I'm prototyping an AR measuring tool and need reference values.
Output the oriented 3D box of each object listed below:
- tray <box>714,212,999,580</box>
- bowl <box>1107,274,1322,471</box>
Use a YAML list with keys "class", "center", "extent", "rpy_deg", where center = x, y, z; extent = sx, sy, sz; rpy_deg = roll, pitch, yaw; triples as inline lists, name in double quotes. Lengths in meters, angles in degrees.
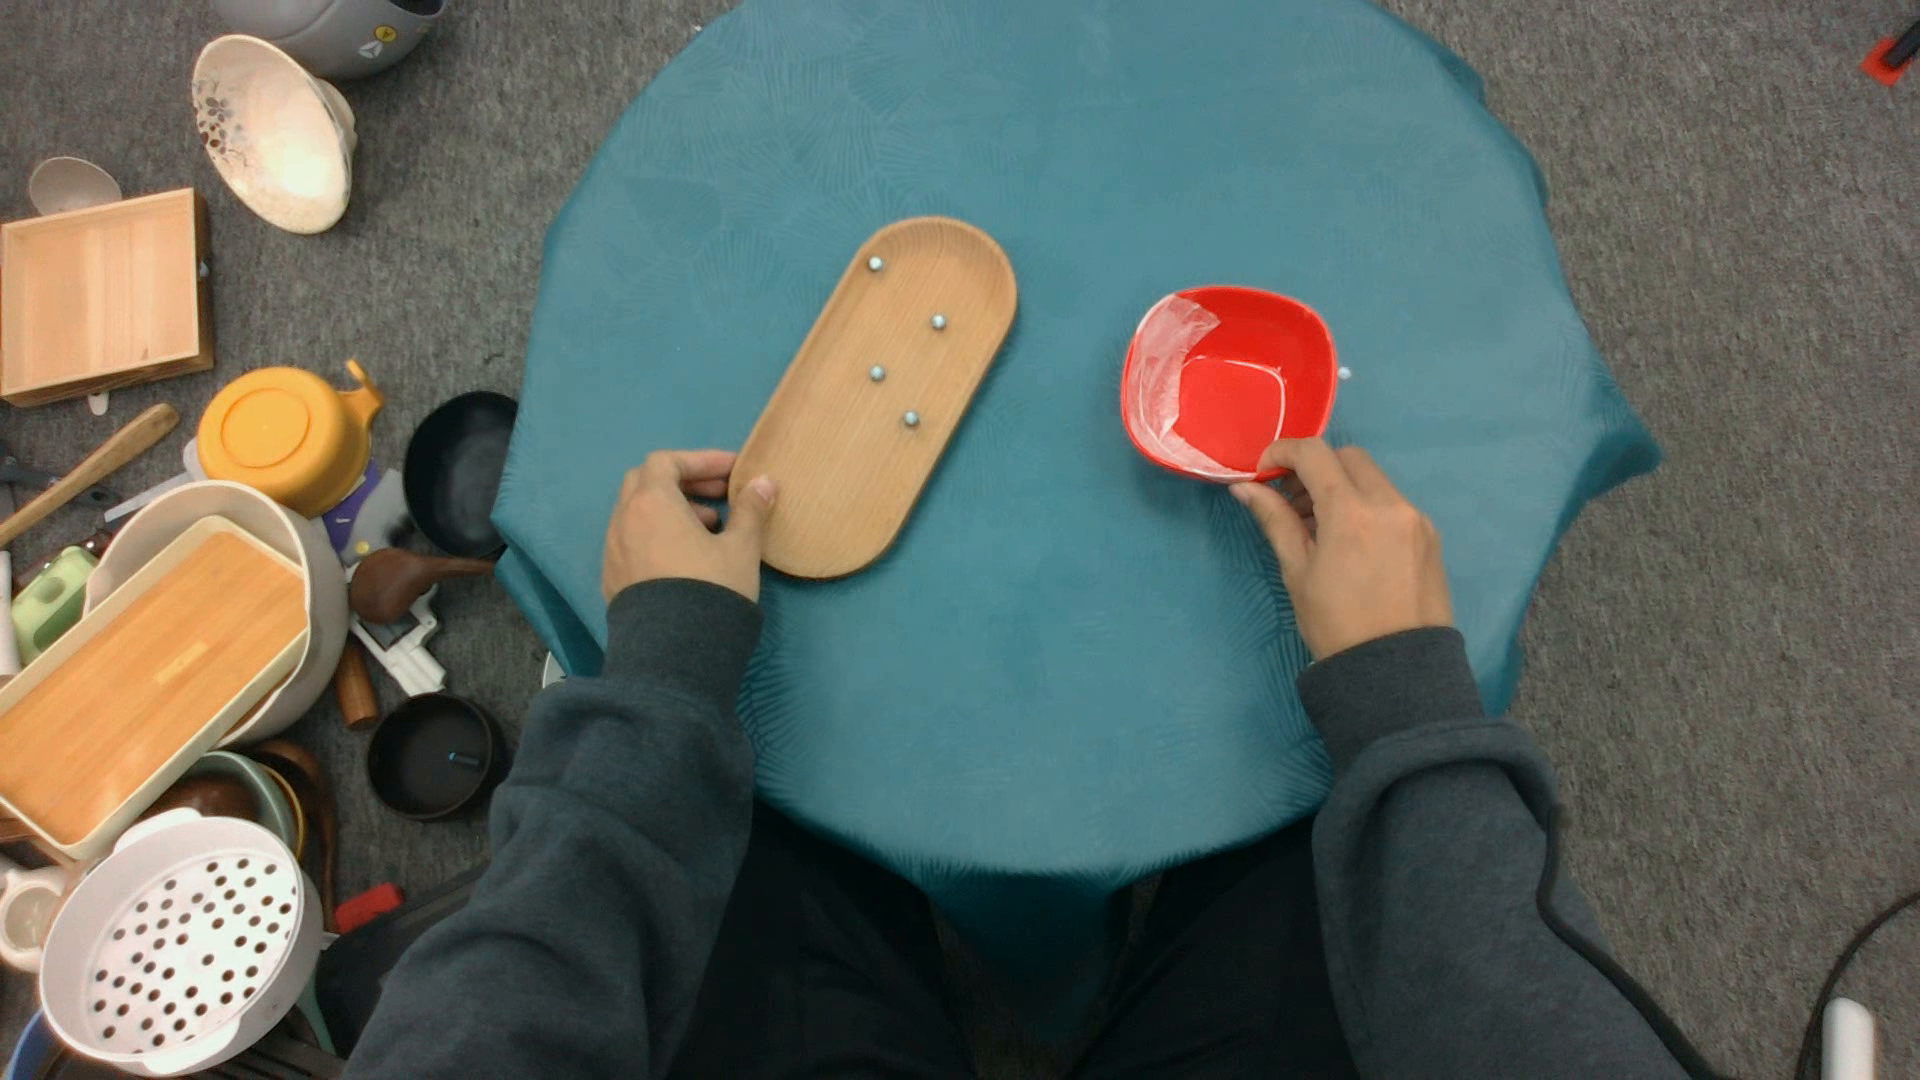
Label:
- class: "tray"
  center: [-0.055, -0.084, 0.773]
  extent: [0.101, 0.020, 0.232]
  rpy_deg: [24, 76, 9]
- class: "bowl"
  center: [0.136, -0.082, 0.741]
  extent: [0.119, 0.051, 0.119]
  rpy_deg: [-3, 69, 7]
